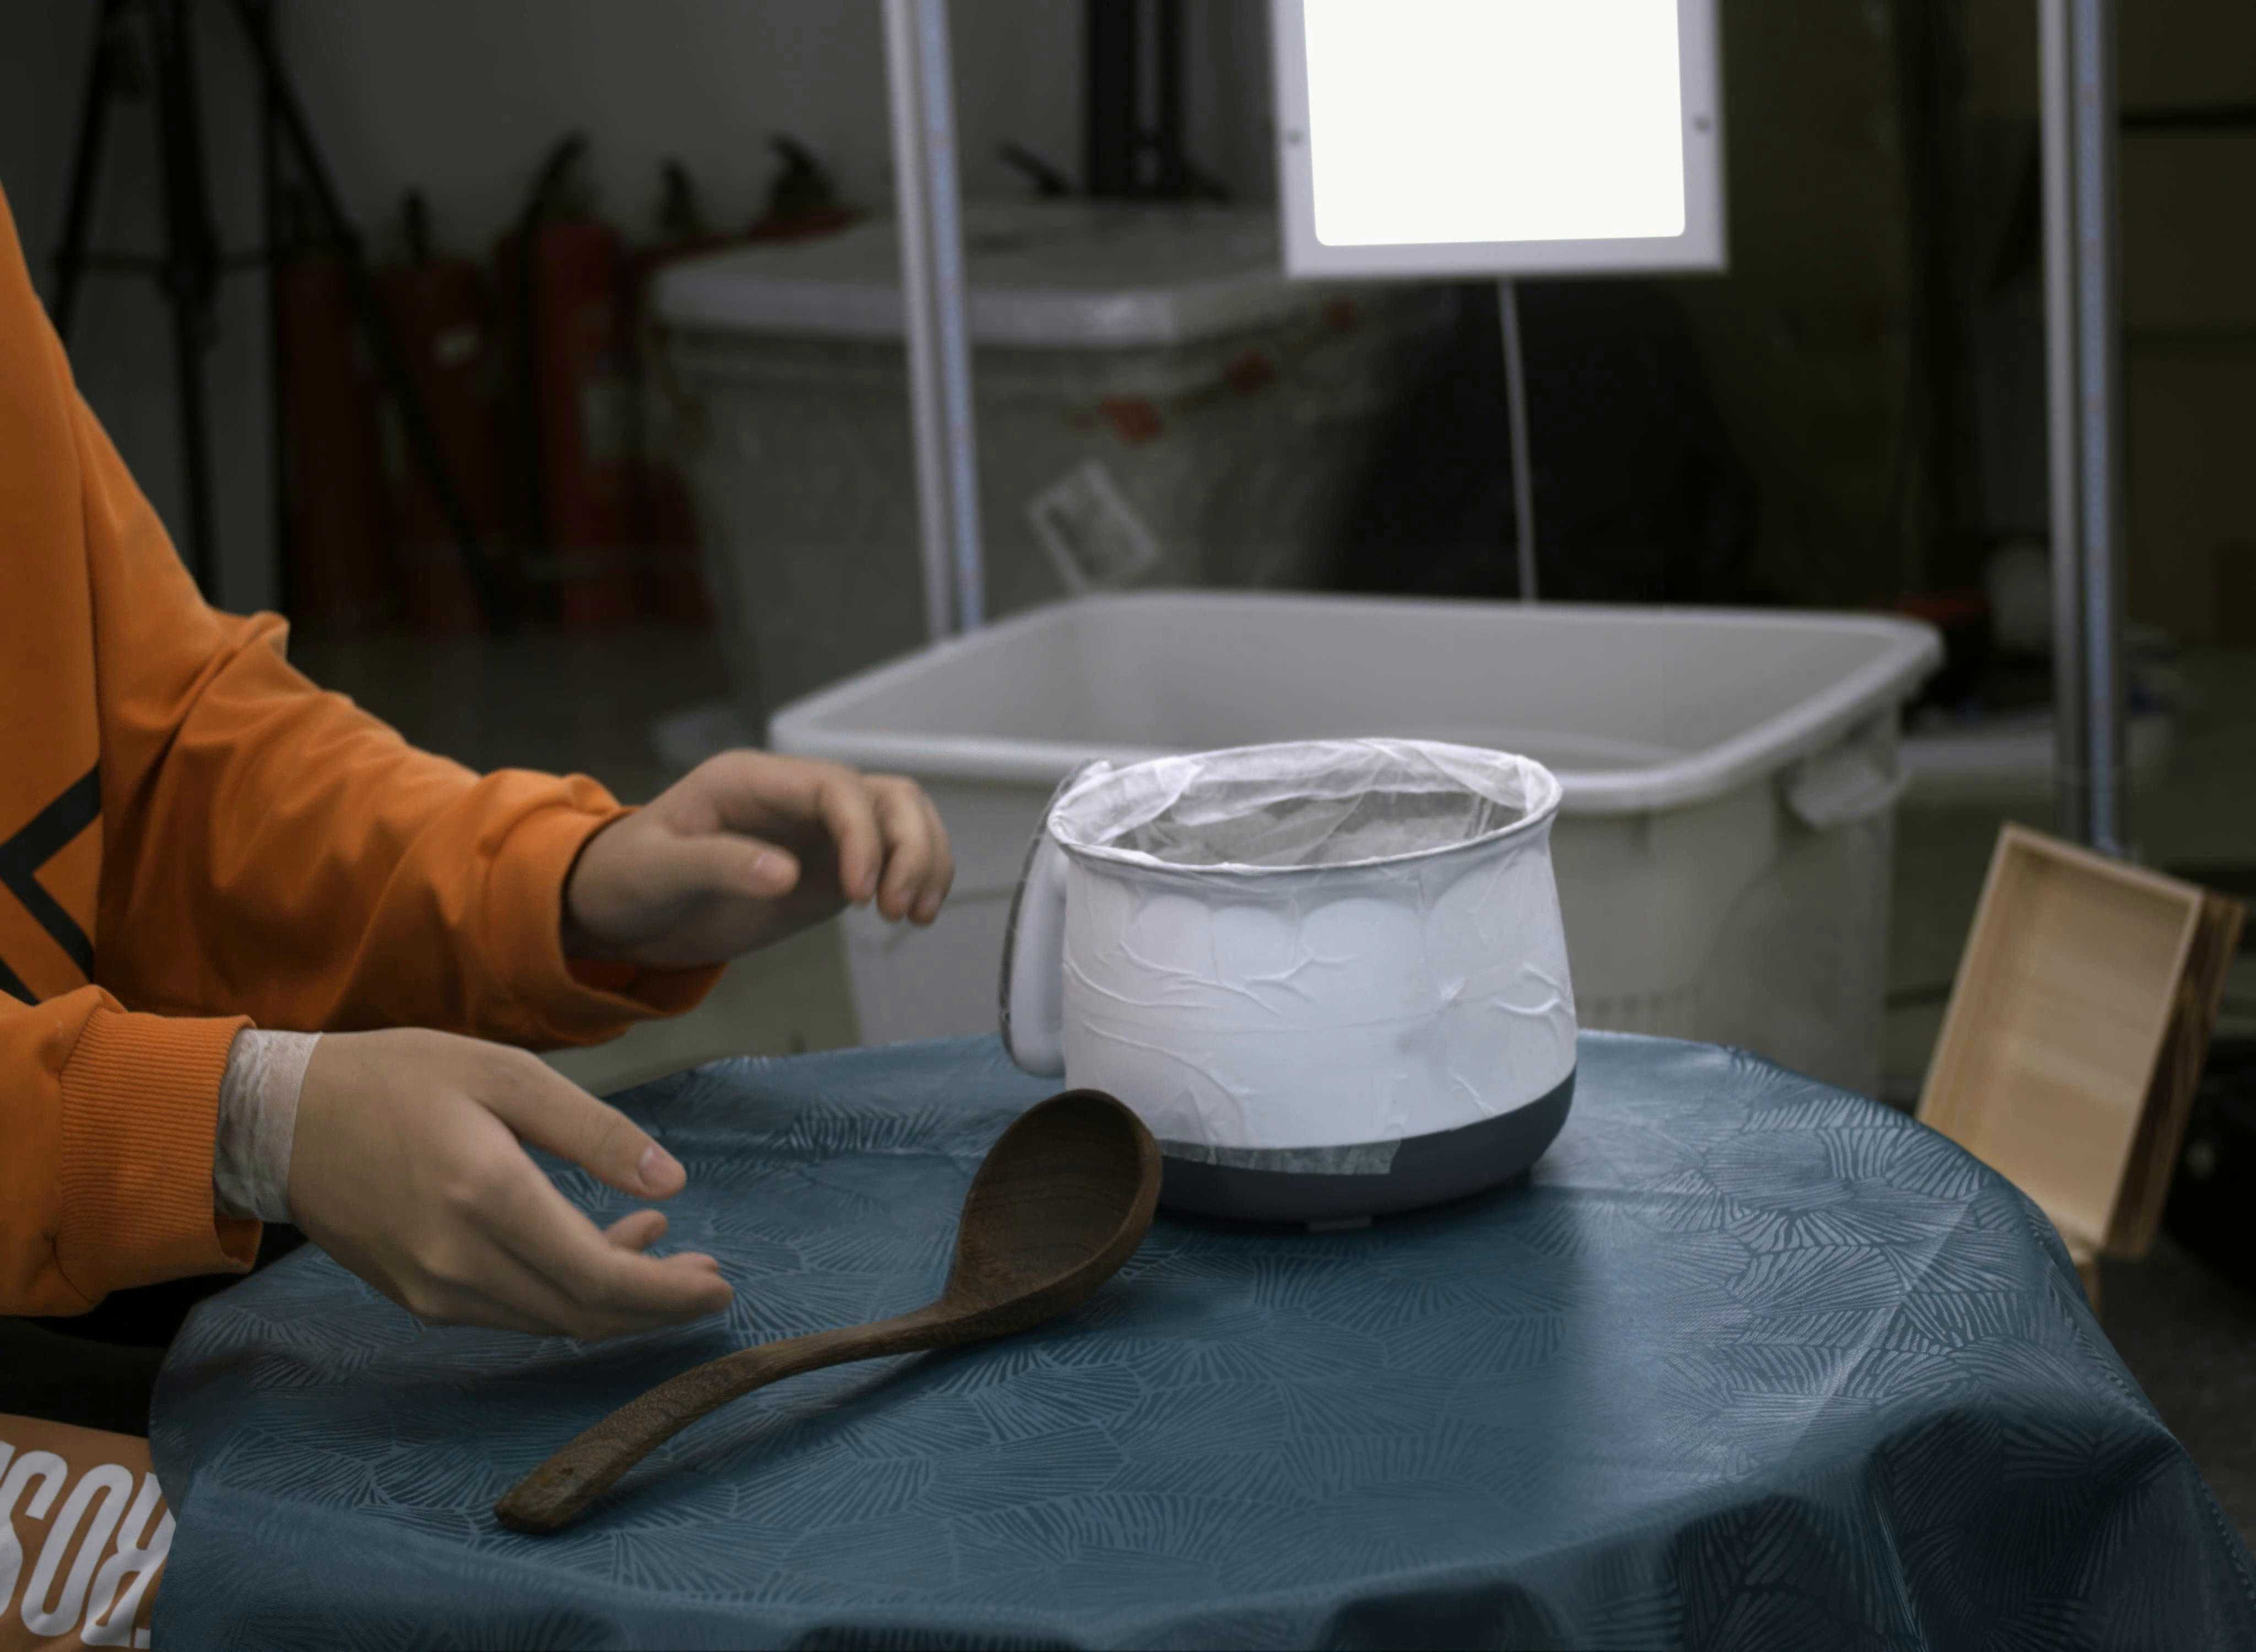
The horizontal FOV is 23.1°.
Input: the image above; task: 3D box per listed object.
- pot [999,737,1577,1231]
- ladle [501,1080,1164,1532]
[{"bbox_3d":[0.044,0.049,1.906,0.239,0.137,0.174,9,19,42],"label":"pot"},{"bbox_3d":[-0.092,0.144,1.711,0.078,0.071,0.267,-2,11,45],"label":"ladle"}]
